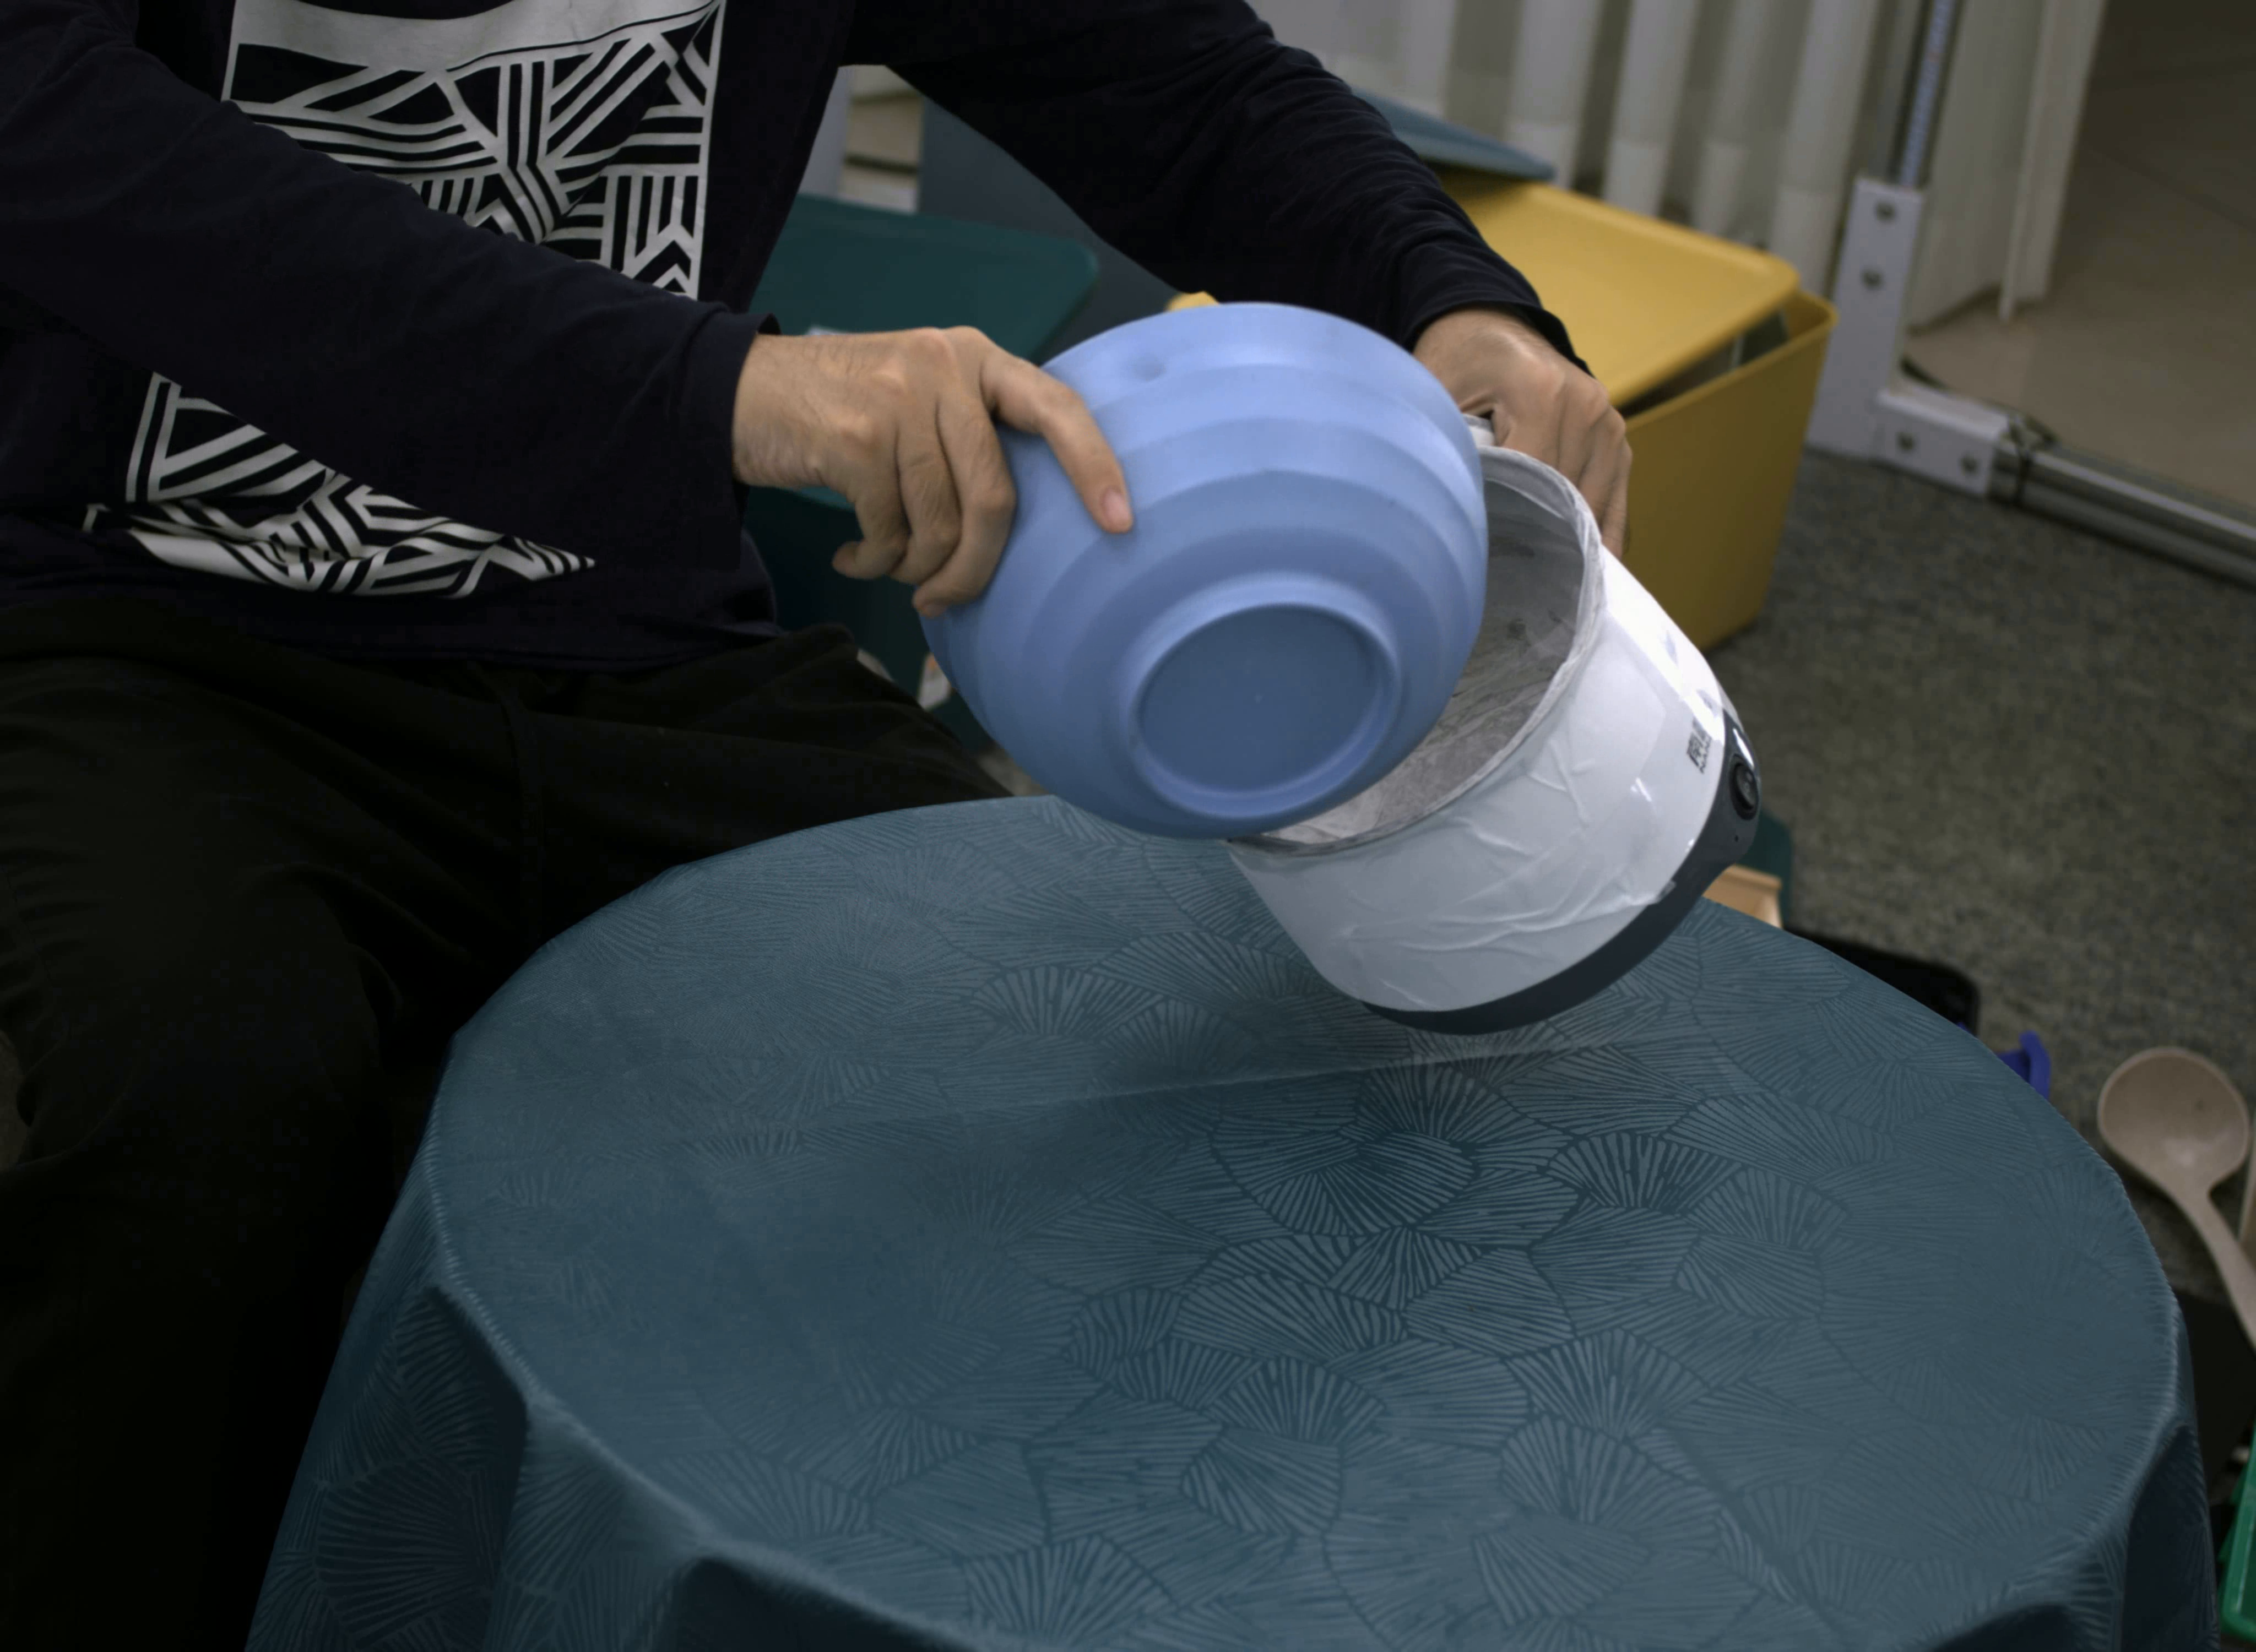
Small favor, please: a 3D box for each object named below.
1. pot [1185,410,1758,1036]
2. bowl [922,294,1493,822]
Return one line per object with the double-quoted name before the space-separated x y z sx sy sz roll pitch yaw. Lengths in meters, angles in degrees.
"pot" 0.120 -0.048 1.892 0.179 0.135 0.235 -12 48 28
"bowl" 0.035 -0.070 1.764 0.195 0.195 0.096 0 43 -13
